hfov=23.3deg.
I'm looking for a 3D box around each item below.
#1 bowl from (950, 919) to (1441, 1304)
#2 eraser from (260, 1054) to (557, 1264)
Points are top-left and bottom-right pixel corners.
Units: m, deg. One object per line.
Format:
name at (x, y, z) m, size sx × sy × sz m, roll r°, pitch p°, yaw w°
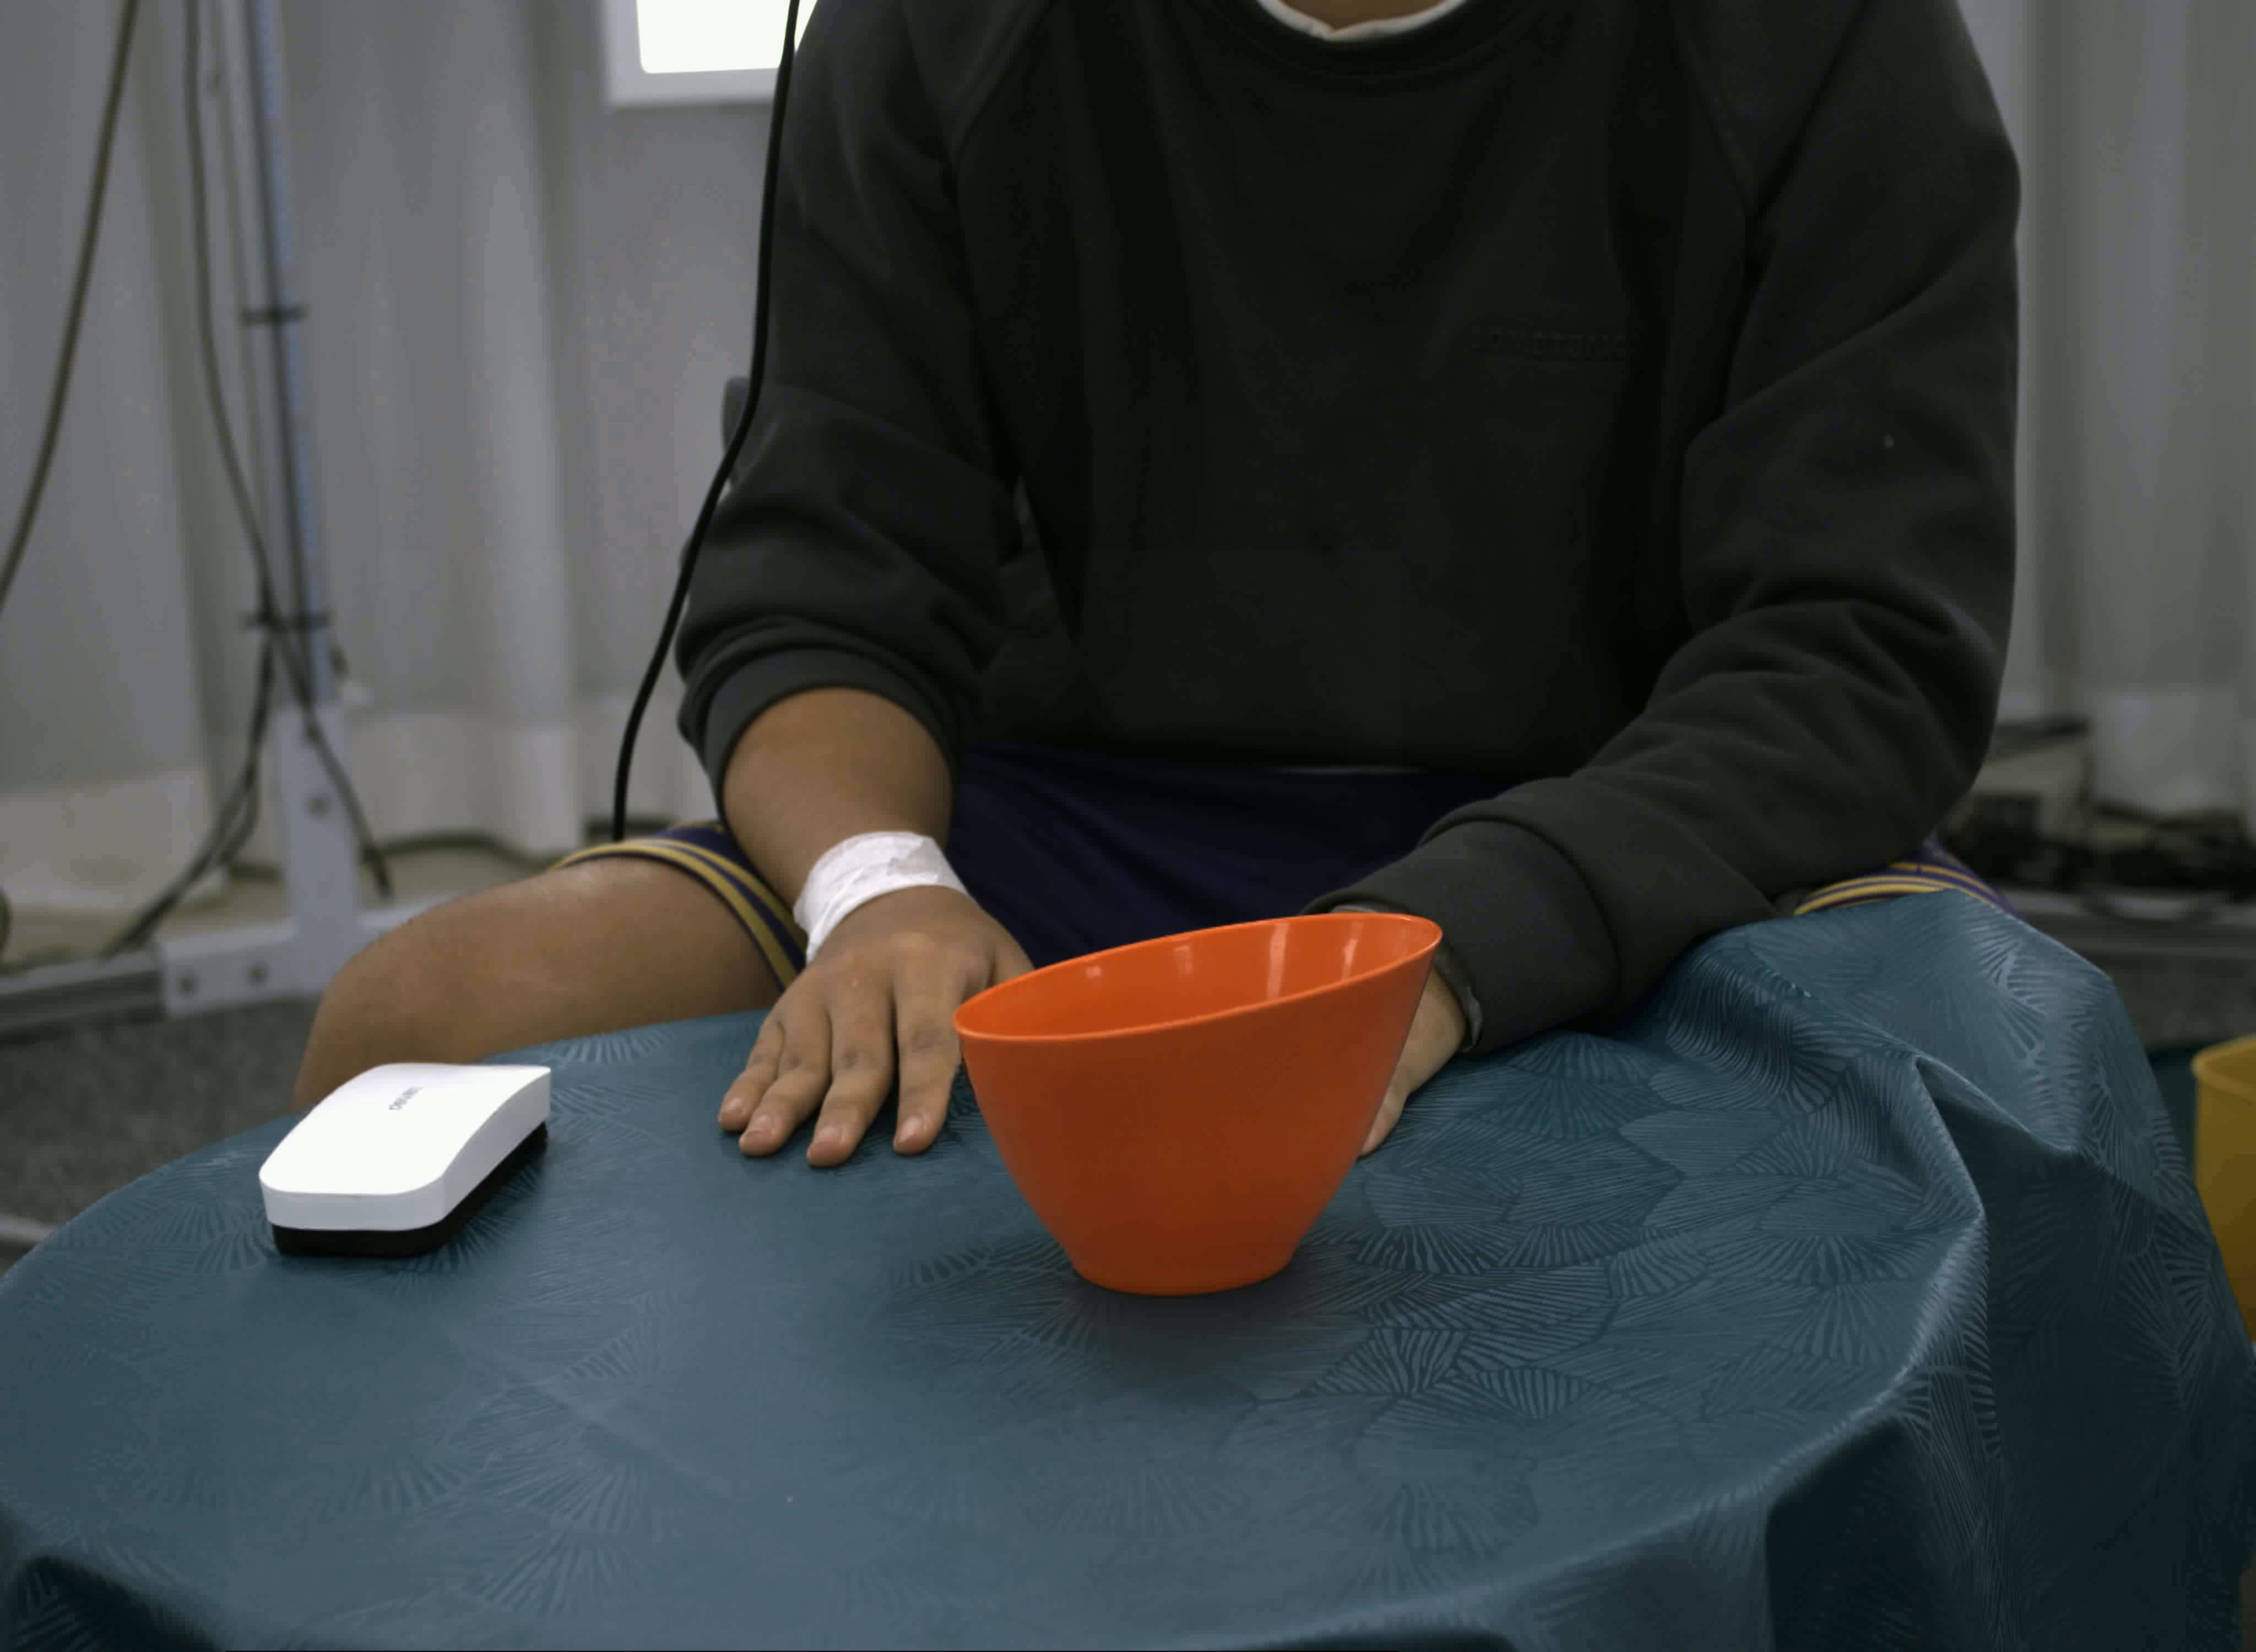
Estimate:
bowl at (0.022, 0.085, 1.632) m, size 0.147 × 0.104 × 0.149 m, roll -4°, pitch 14°, yaw 1°
eraser at (-0.226, 0.102, 1.746) m, size 0.063 × 0.034 × 0.132 m, roll 2°, pitch 17°, yaw 14°
